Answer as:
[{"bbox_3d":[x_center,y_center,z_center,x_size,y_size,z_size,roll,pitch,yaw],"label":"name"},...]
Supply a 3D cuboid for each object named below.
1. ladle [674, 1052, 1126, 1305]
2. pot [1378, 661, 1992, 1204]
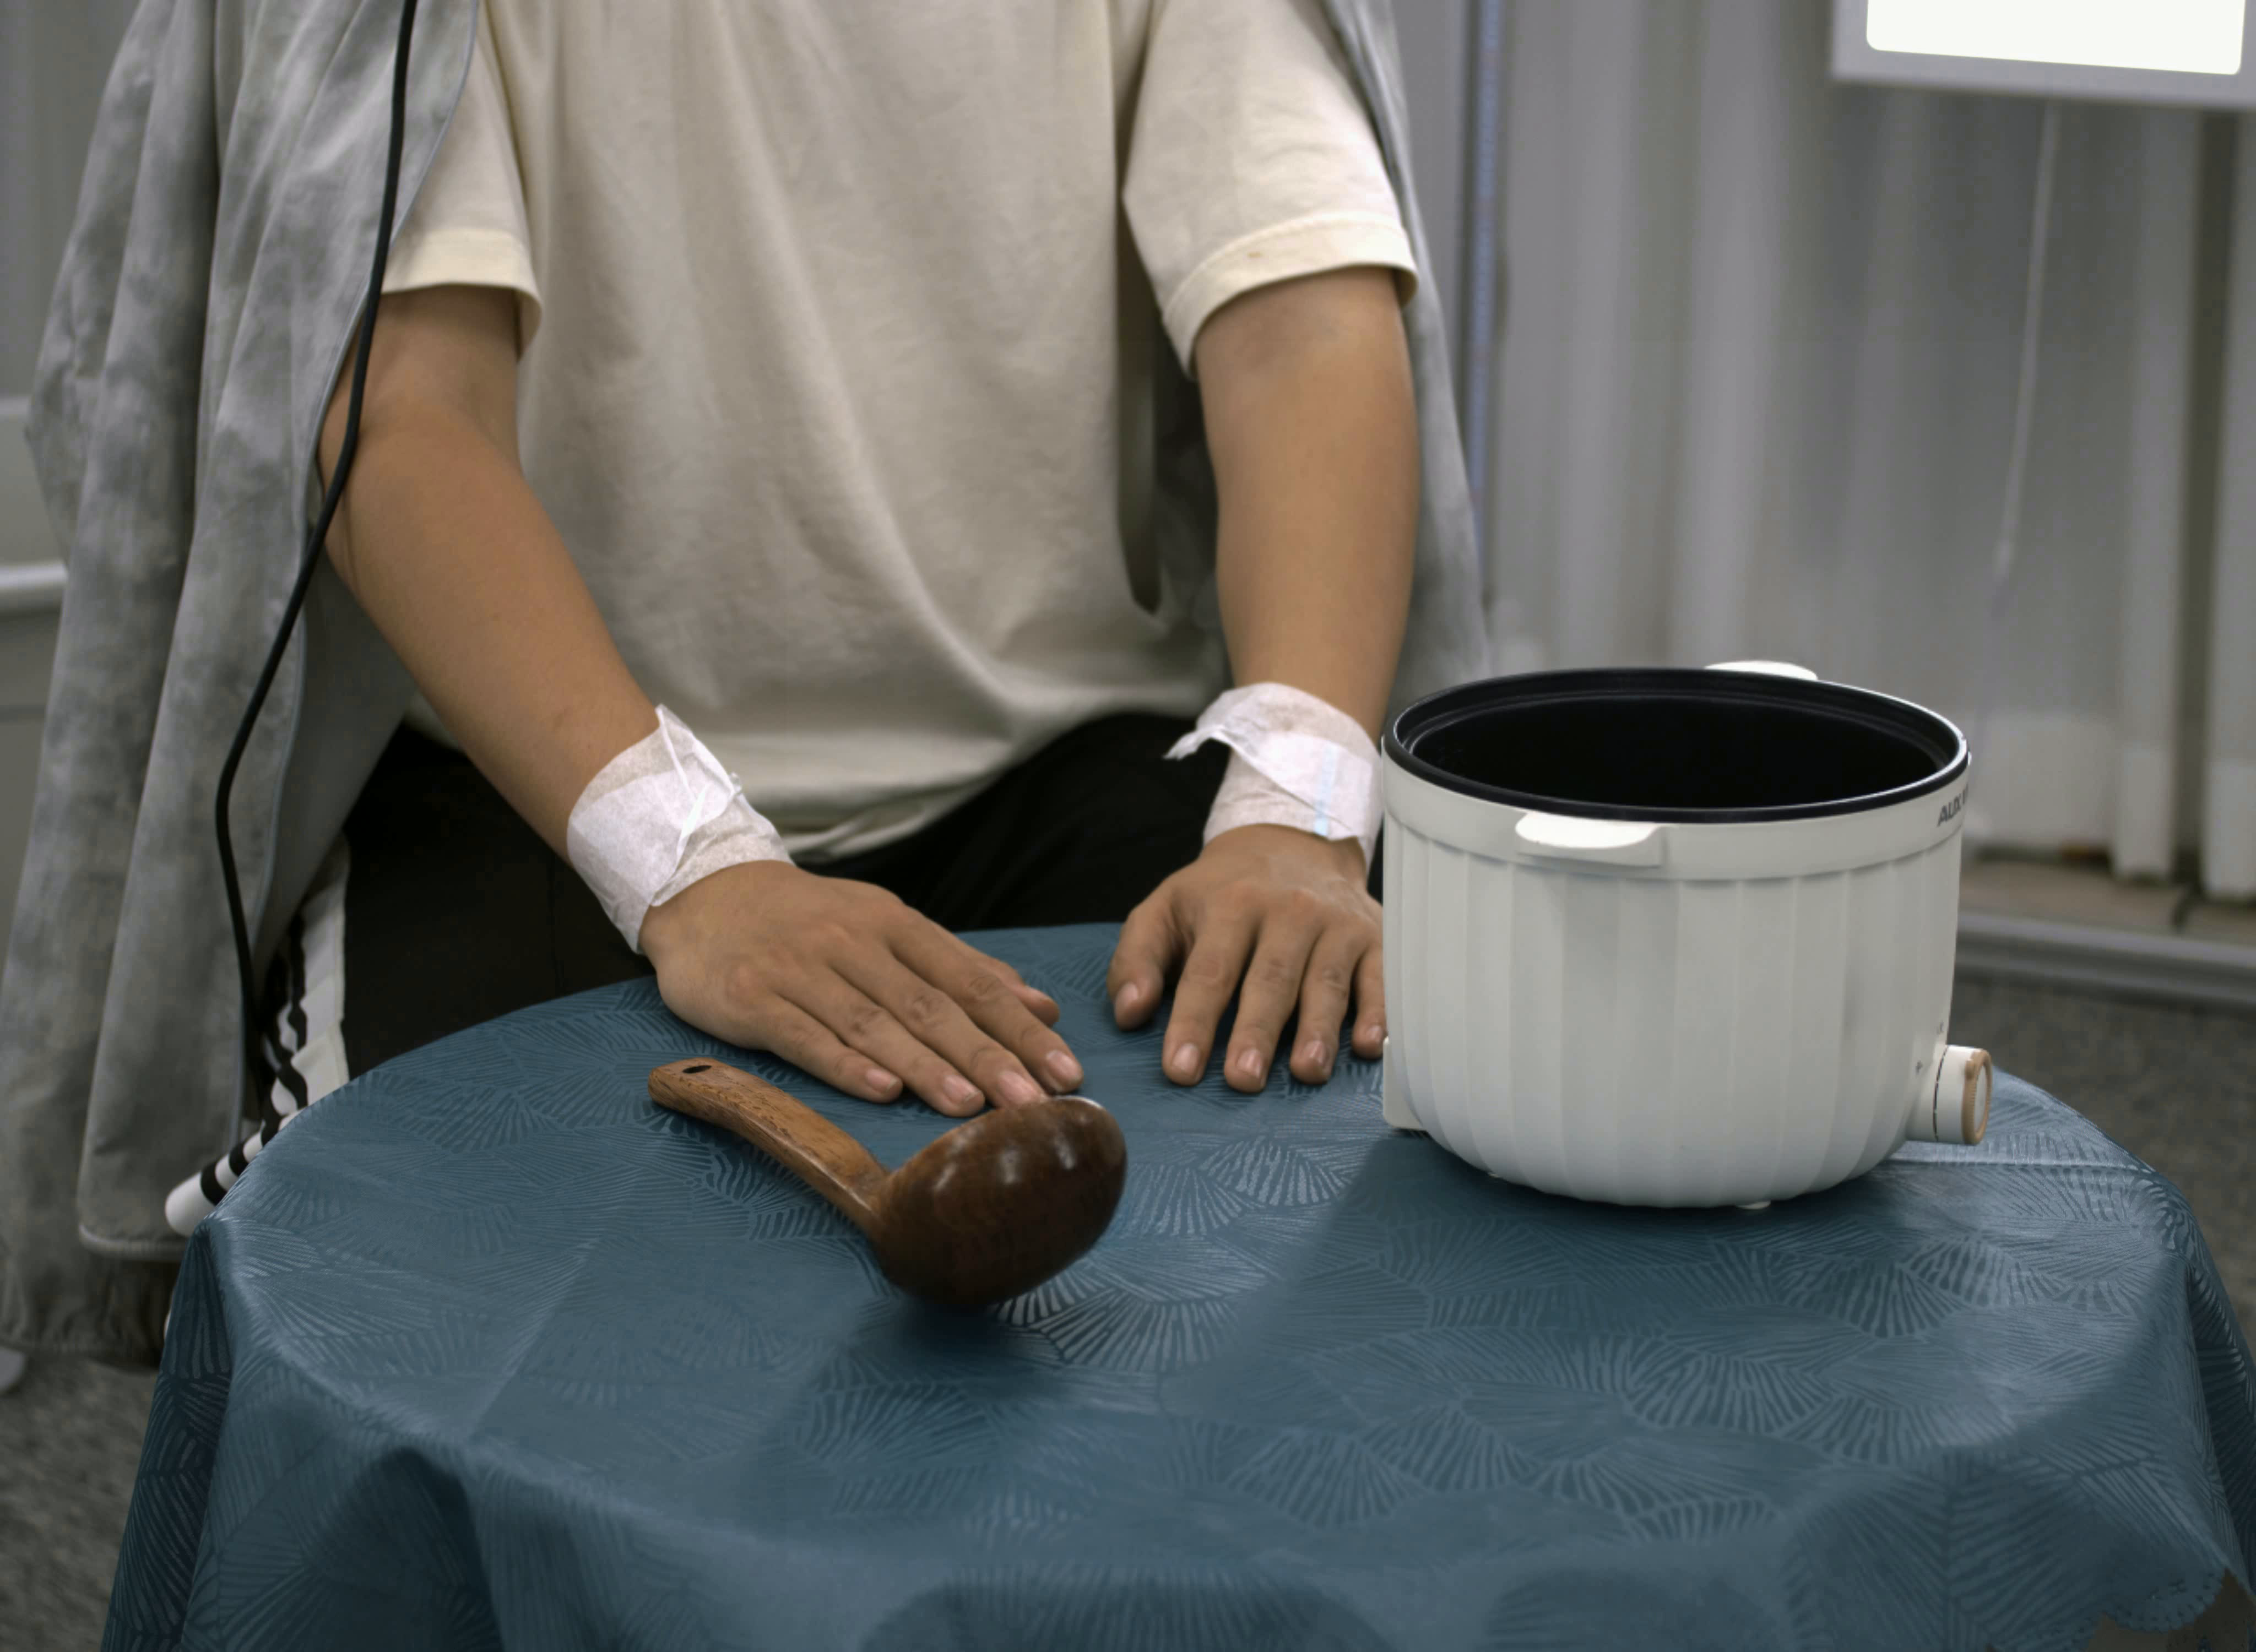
[{"bbox_3d":[-0.085,0.082,1.587,0.082,0.077,0.270,-9,18,-25],"label":"ladle"},{"bbox_3d":[0.174,0.035,1.648,0.189,0.144,0.240,3,16,20],"label":"pot"}]
